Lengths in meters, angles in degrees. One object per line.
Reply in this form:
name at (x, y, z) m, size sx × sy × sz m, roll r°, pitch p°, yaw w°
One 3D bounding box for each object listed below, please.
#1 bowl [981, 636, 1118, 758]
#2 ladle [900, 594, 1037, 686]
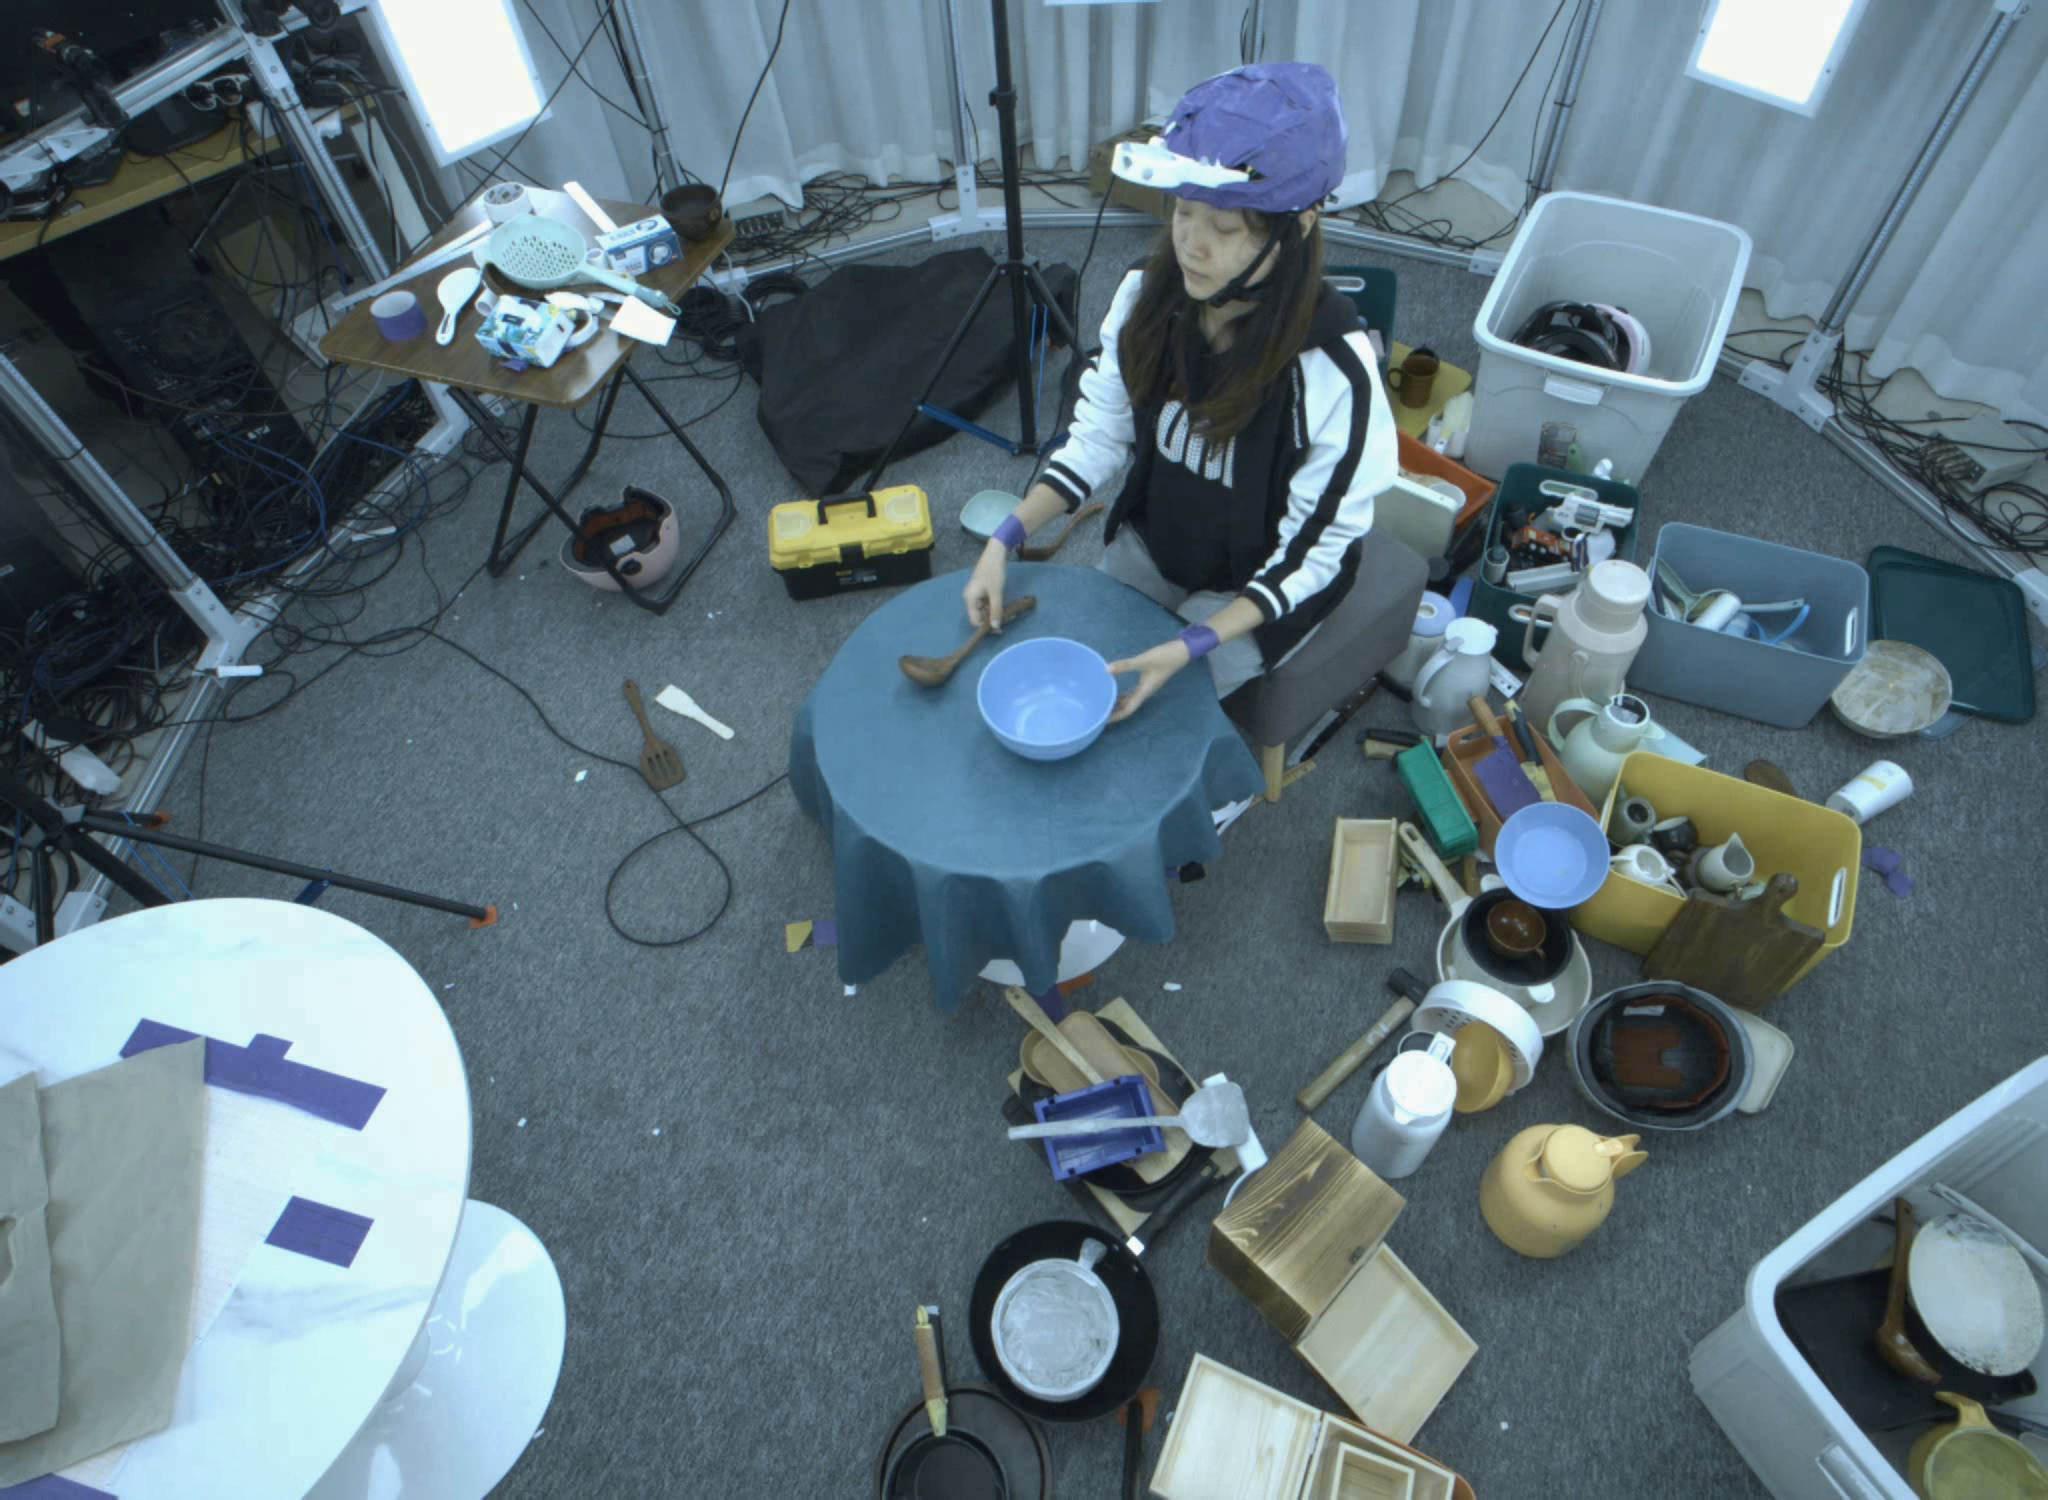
bowl at (0.043, -0.060, 1.772) m, size 0.195 × 0.097 × 0.194 m, roll -4°, pitch 53°, yaw 7°
ladle at (-0.080, -0.181, 1.878) m, size 0.262 × 0.066 × 0.075 m, roll -40°, pitch 55°, yaw -22°
